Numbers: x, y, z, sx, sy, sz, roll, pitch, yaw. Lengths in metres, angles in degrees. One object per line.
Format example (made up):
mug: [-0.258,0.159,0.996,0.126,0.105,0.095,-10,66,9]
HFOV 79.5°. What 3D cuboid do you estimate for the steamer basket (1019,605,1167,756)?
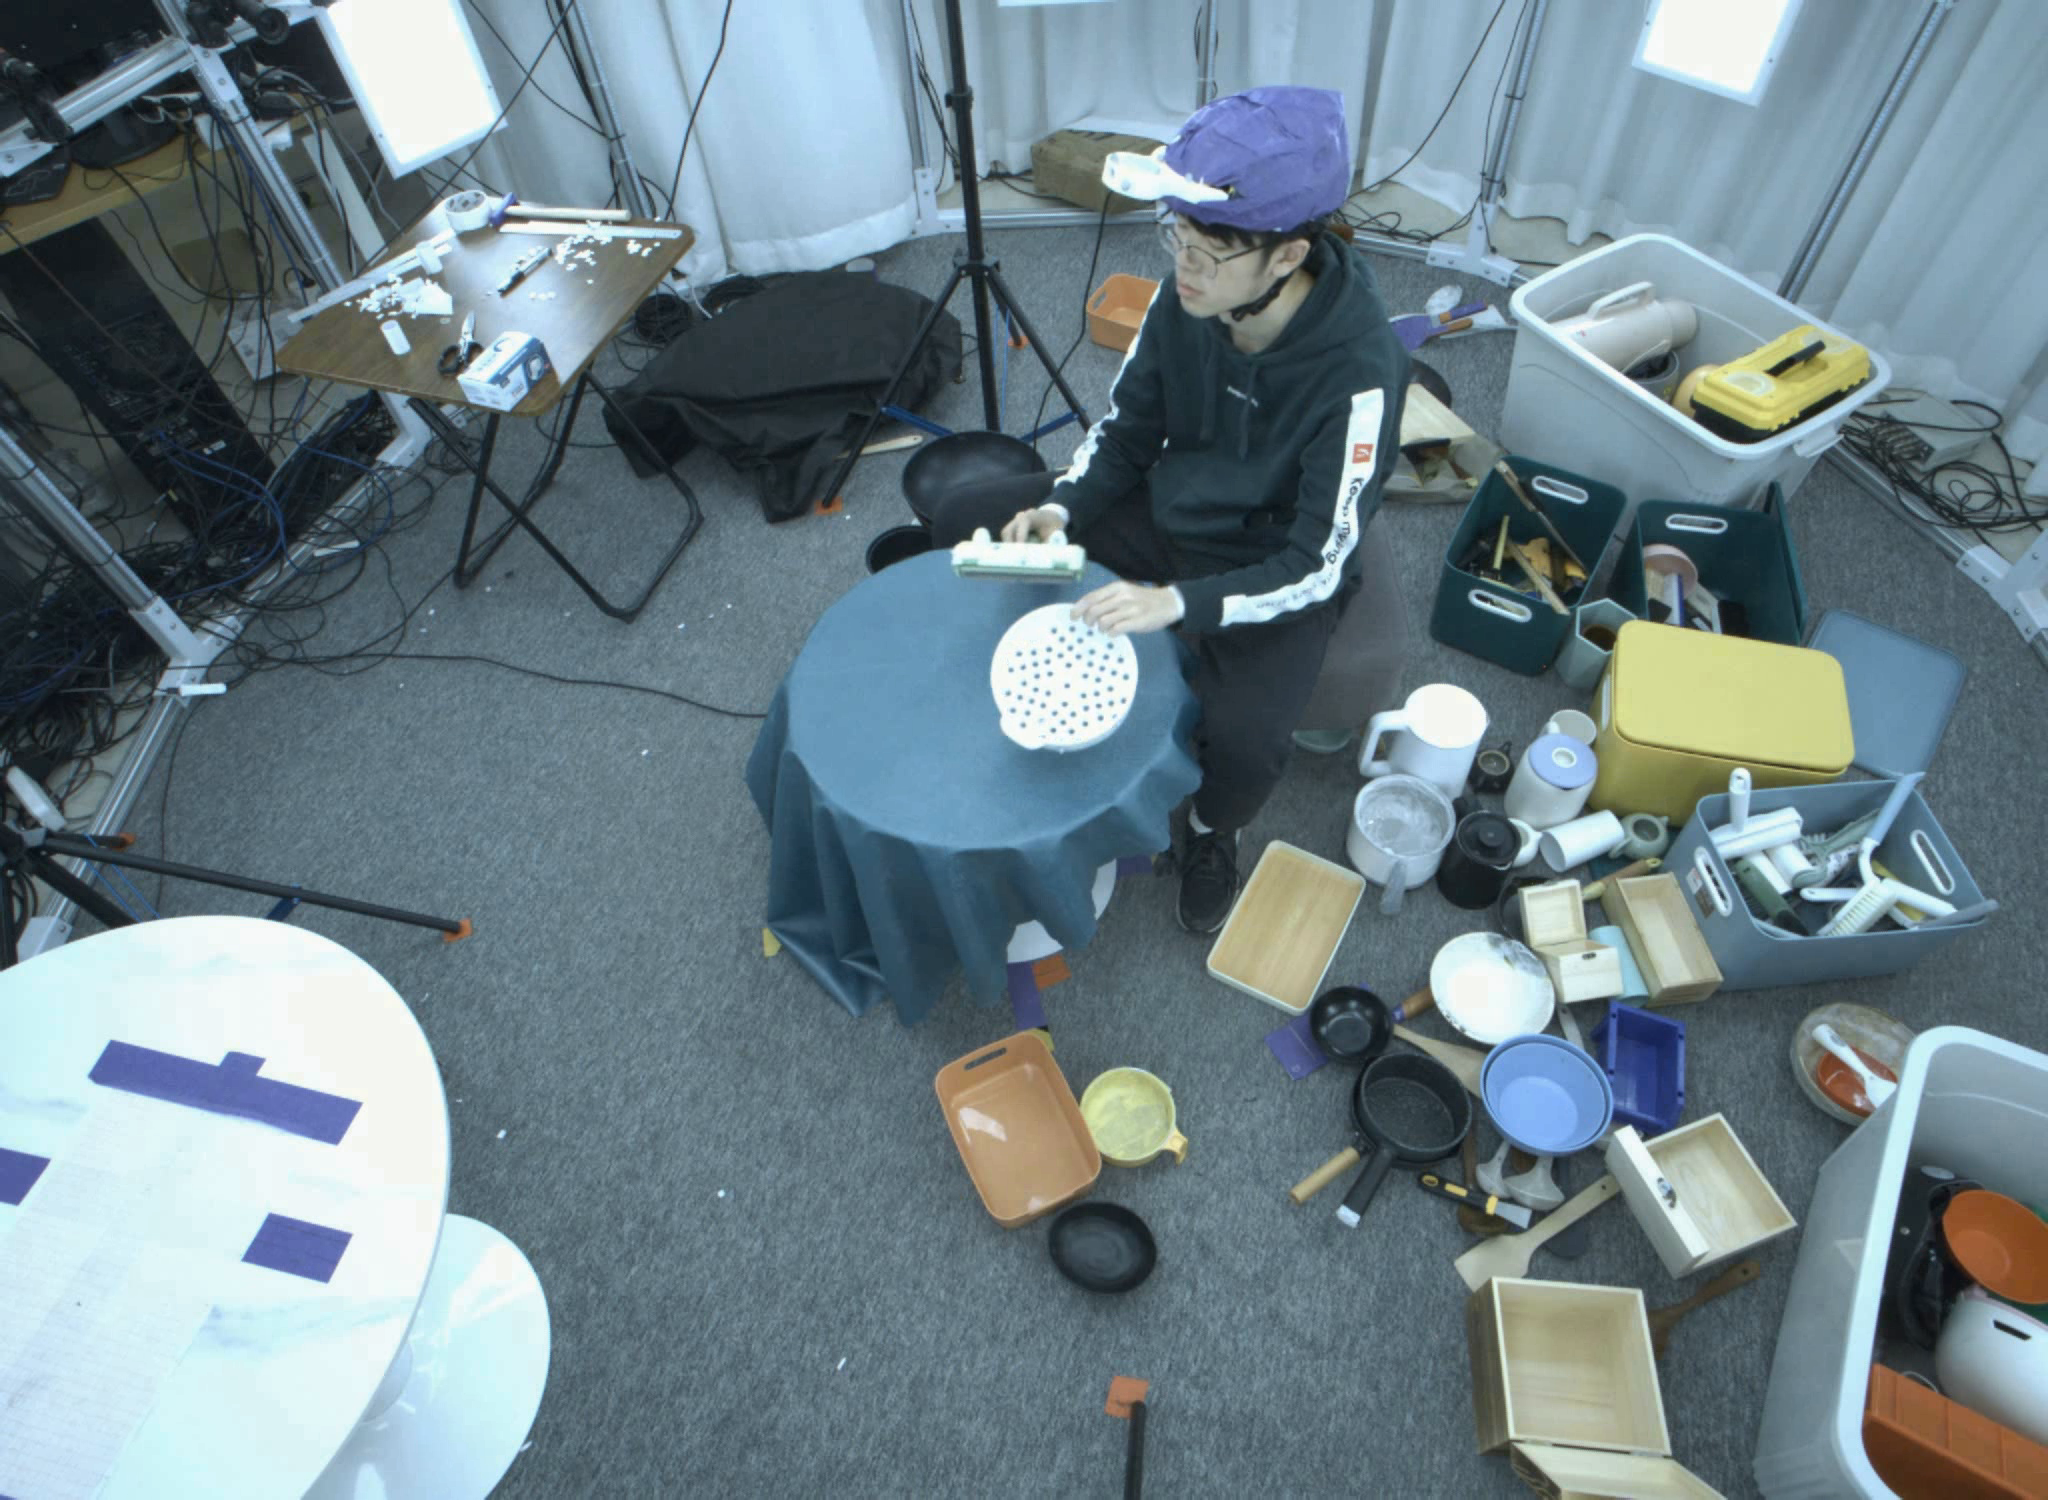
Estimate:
steamer basket: [0.096,-0.090,1.692,0.200,0.070,0.231,35,84,11]

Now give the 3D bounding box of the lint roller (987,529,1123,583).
lint roller: [0.056,-0.314,1.860,0.197,0.083,0.182,4,34,9]
